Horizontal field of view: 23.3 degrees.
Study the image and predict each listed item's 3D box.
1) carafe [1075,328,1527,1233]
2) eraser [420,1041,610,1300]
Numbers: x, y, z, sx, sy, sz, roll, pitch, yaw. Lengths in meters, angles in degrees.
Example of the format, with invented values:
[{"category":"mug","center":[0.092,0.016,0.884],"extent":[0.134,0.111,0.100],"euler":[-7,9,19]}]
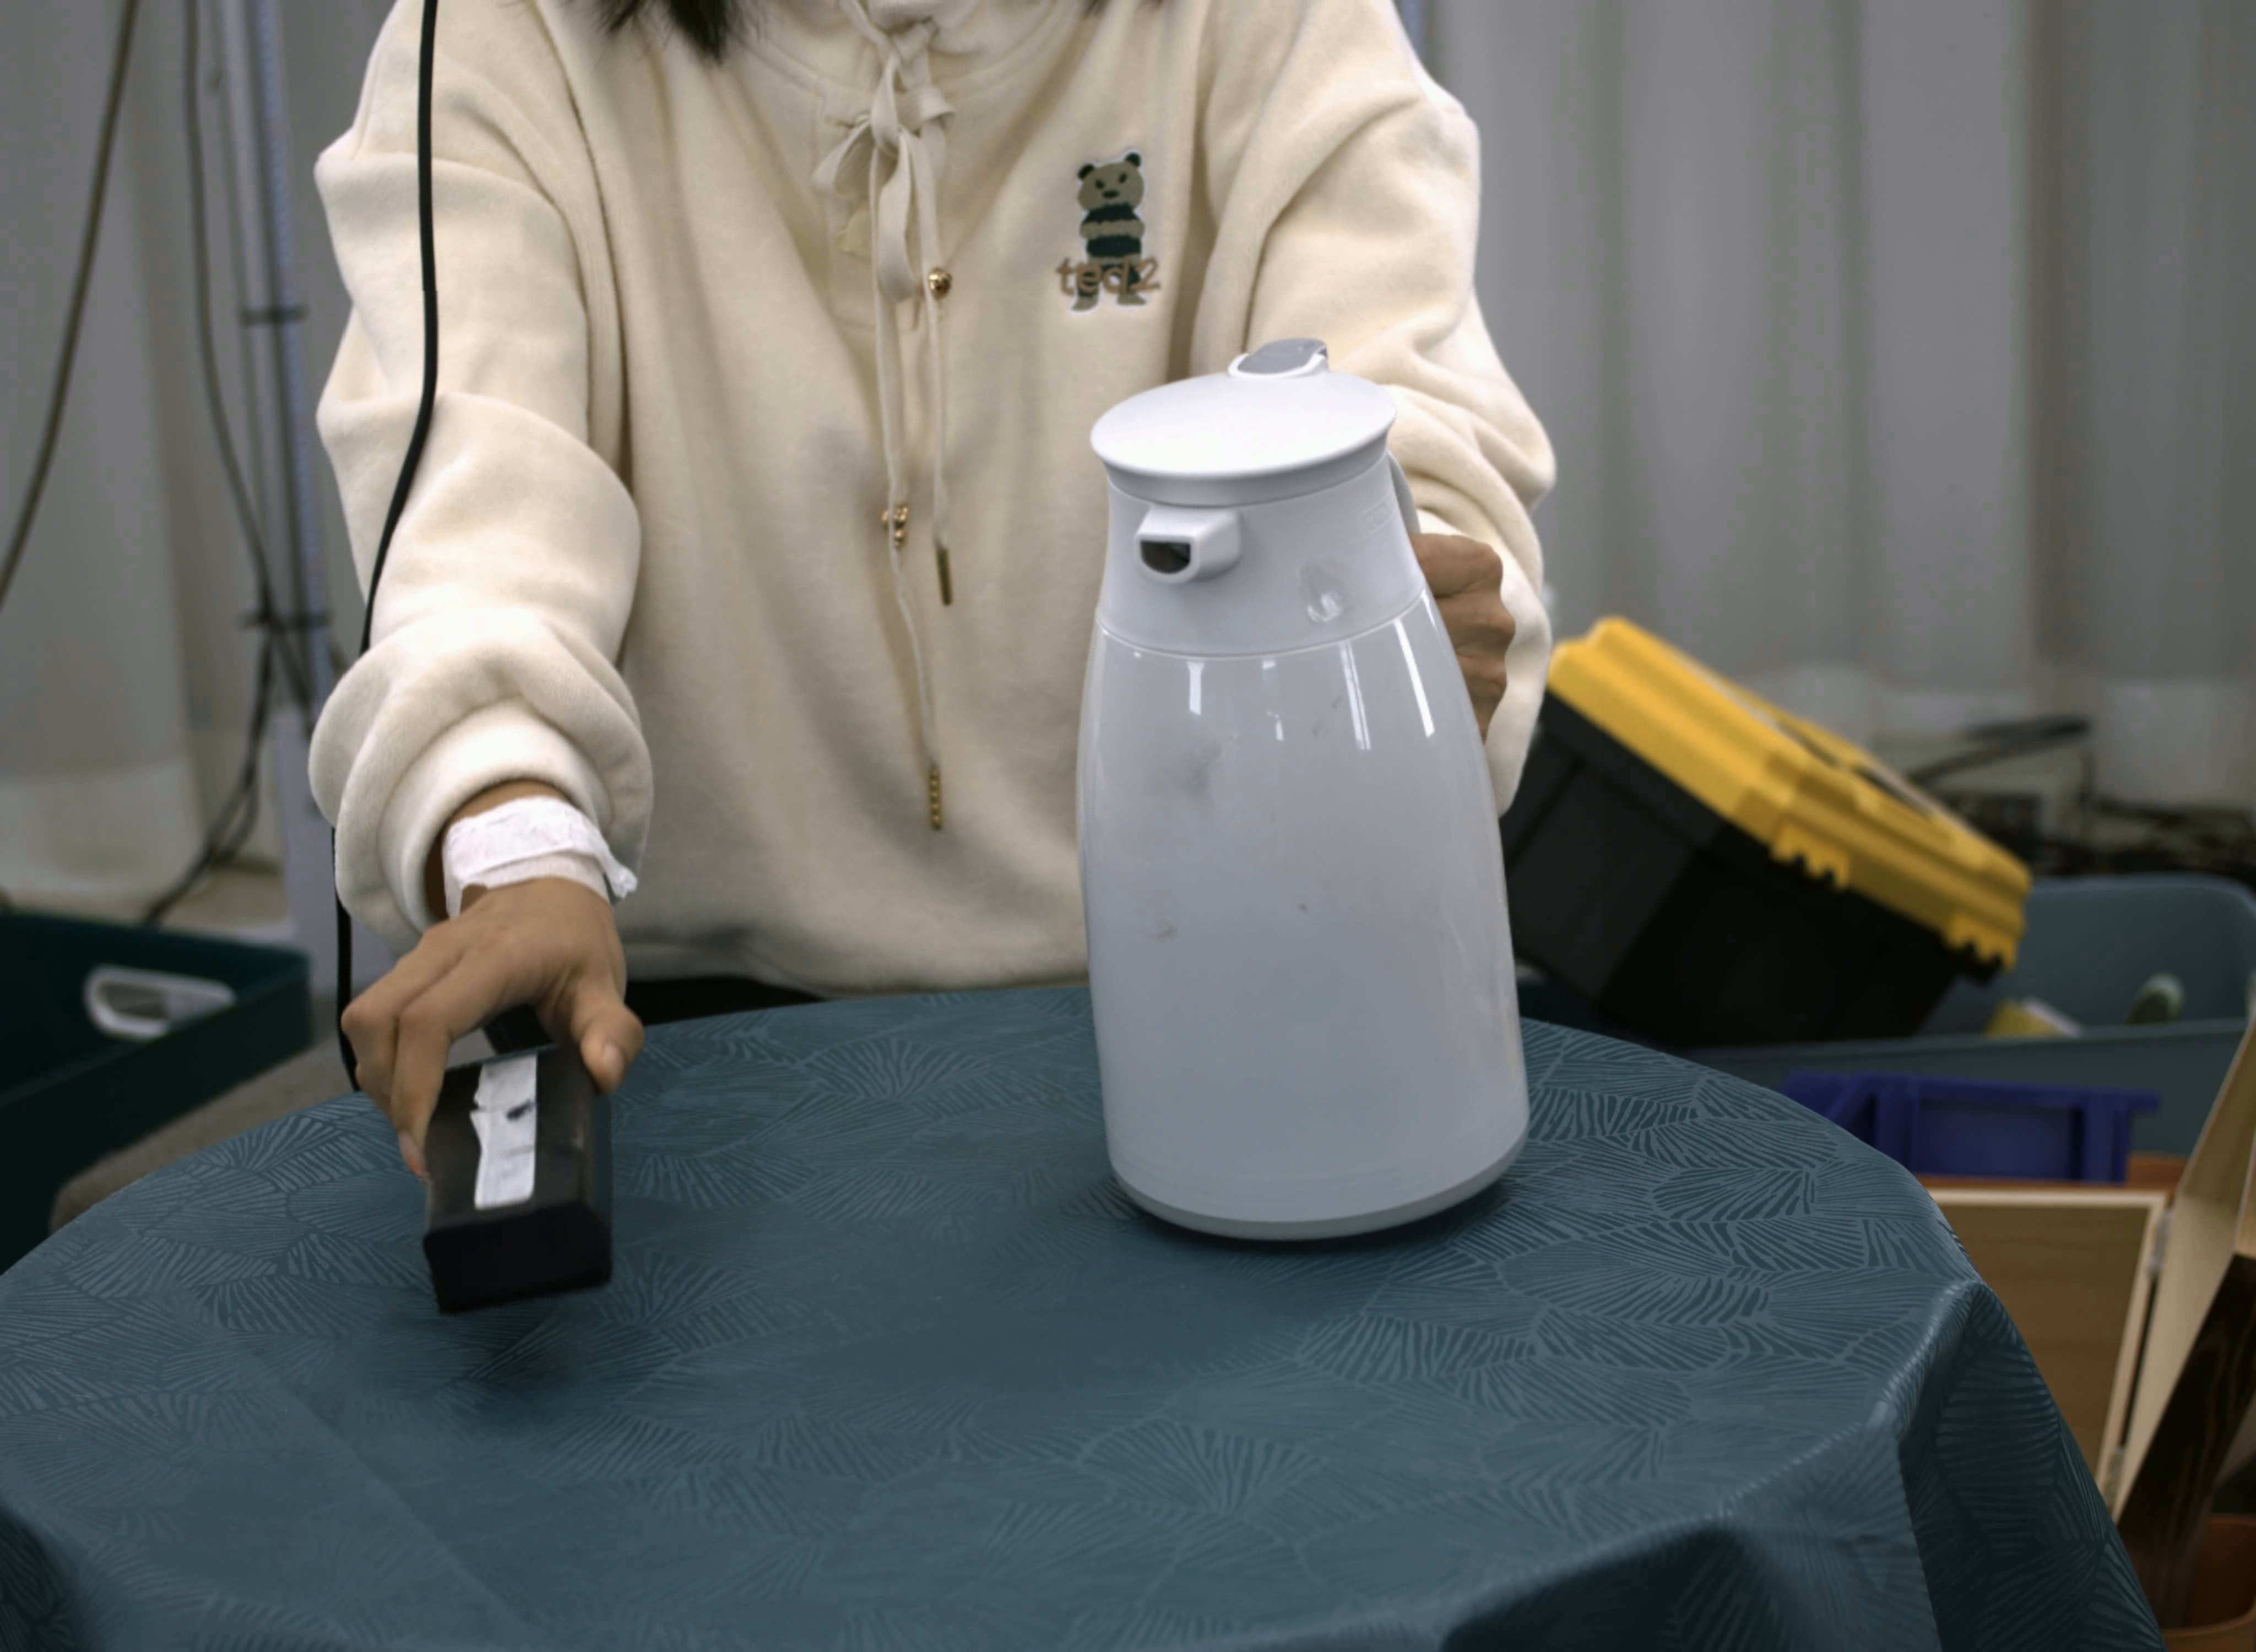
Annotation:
[{"category":"carafe","center":[0.052,-0.024,1.676],"extent":[0.132,0.247,0.168],"euler":[3,23,24]},{"category":"eraser","center":[-0.180,0.100,1.612],"extent":[0.053,0.030,0.126],"euler":[-11,19,-3]}]
